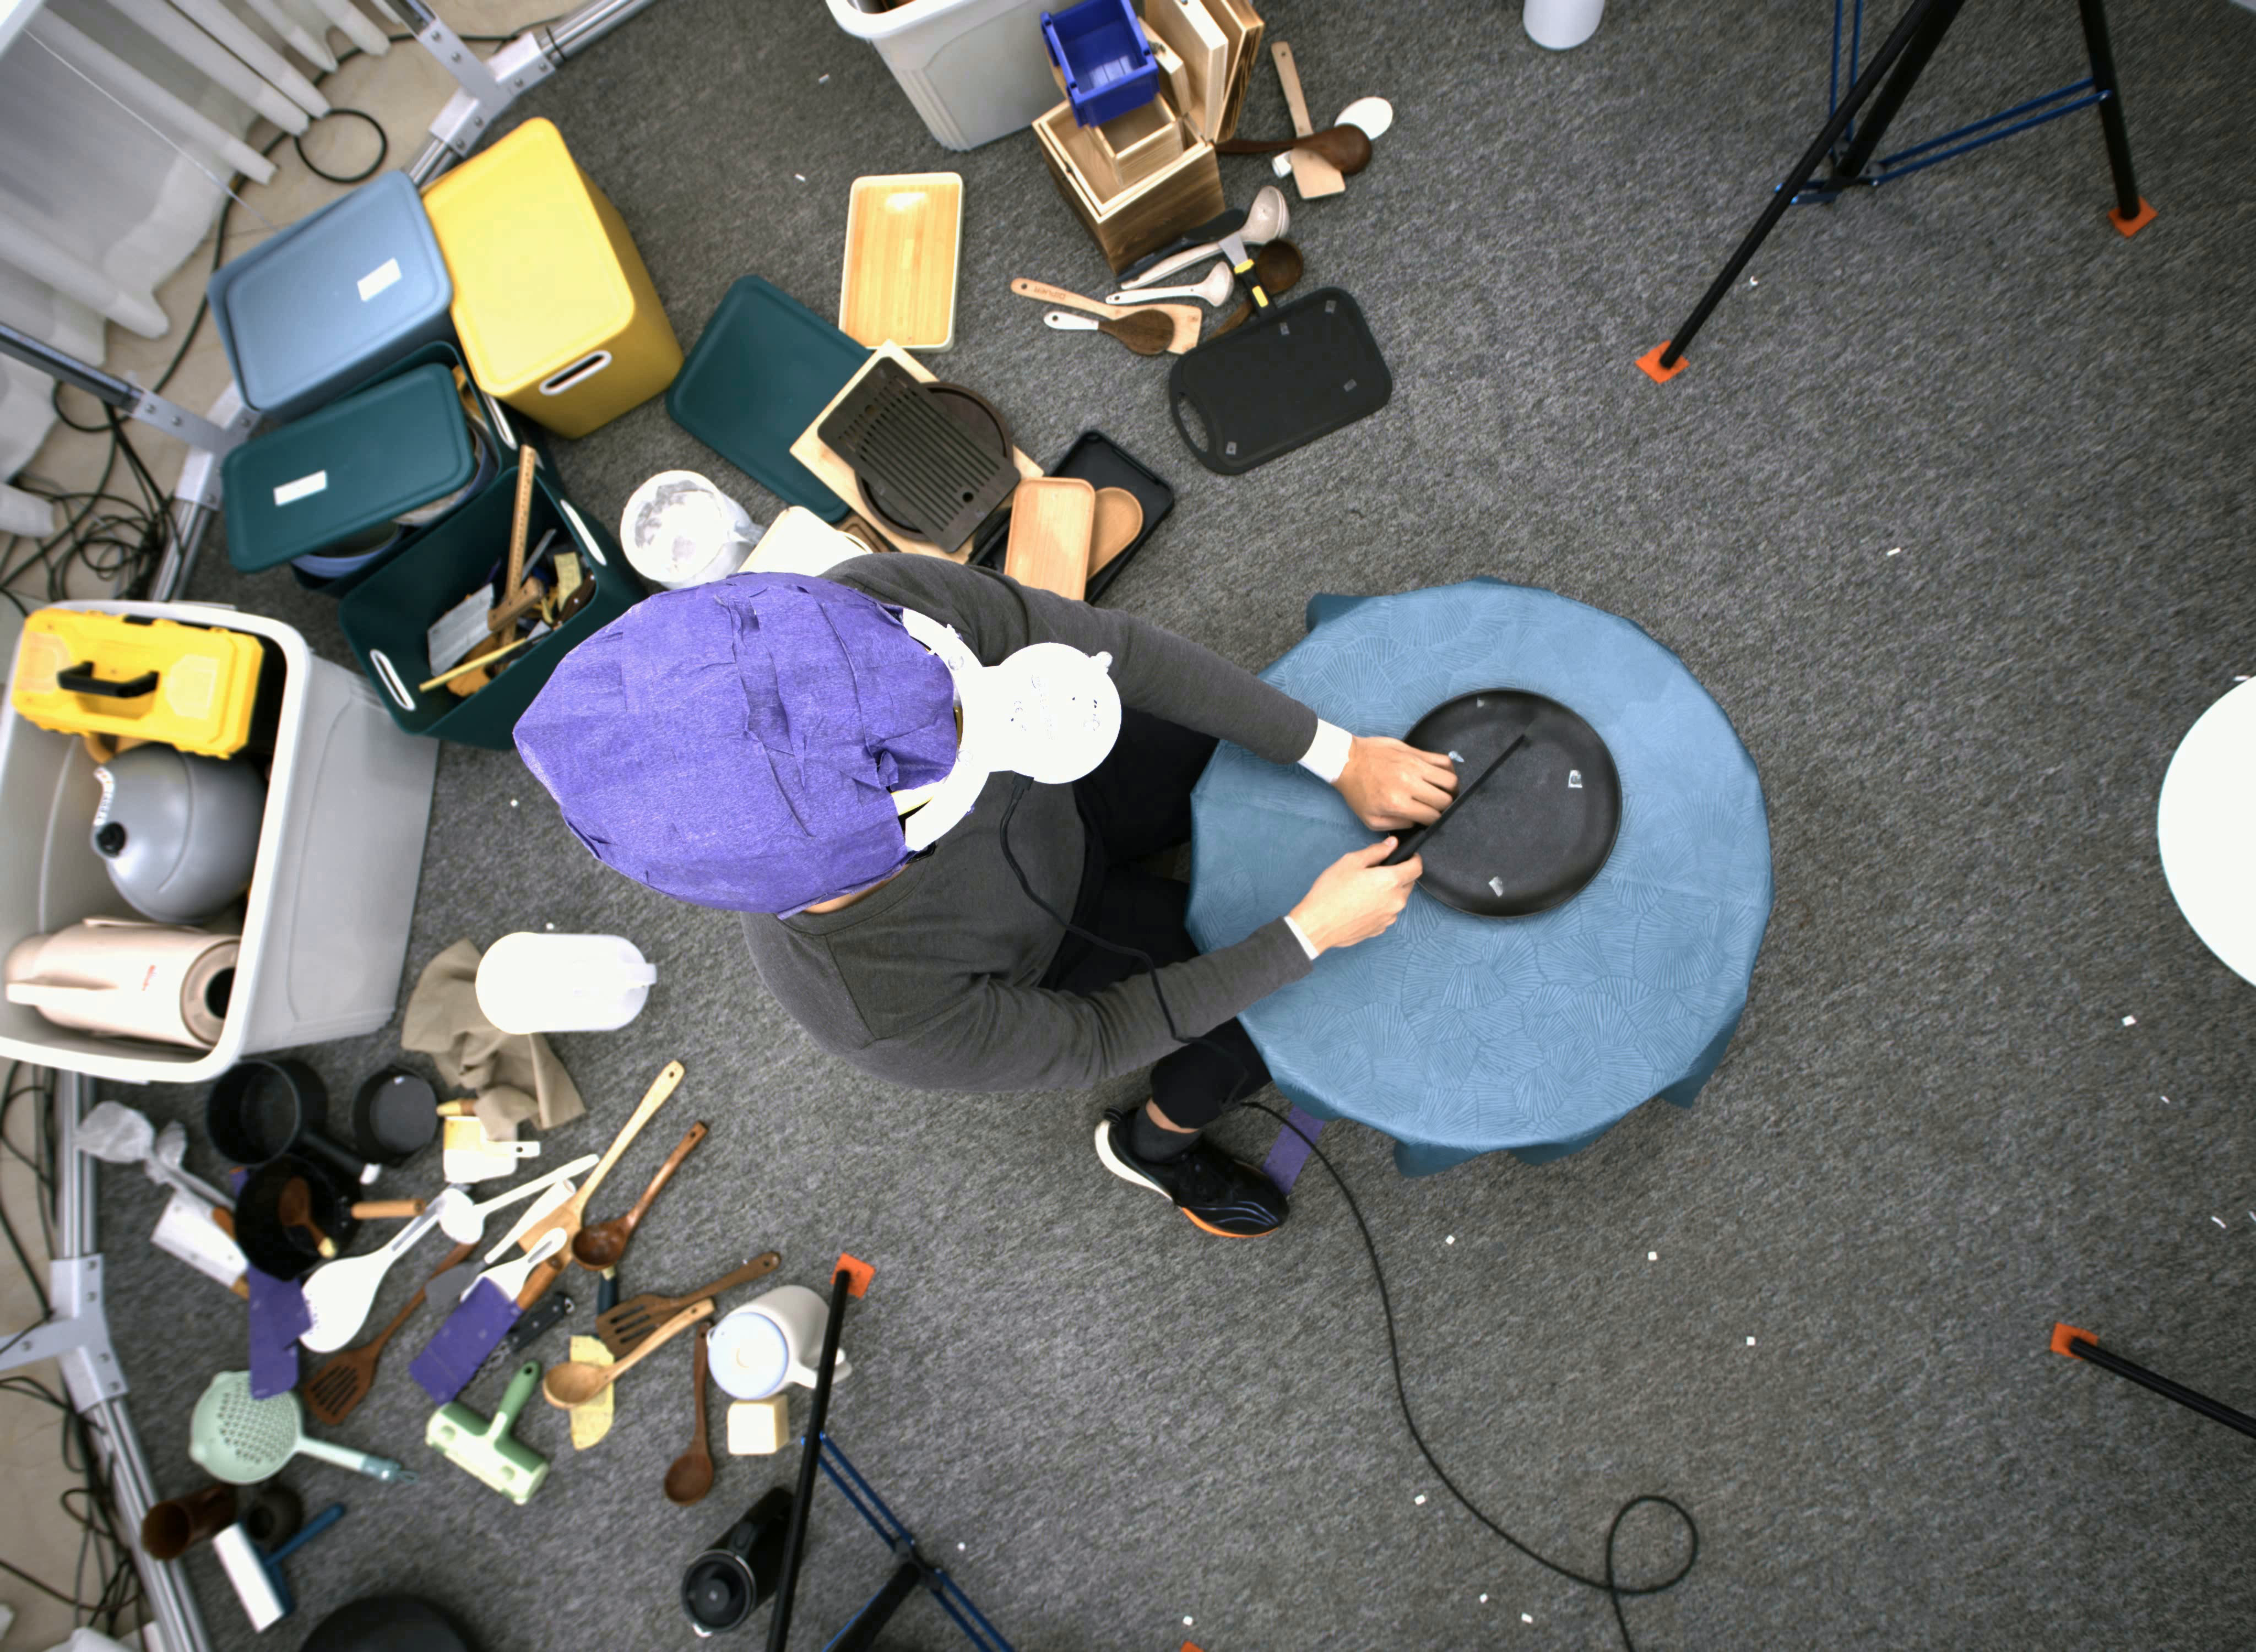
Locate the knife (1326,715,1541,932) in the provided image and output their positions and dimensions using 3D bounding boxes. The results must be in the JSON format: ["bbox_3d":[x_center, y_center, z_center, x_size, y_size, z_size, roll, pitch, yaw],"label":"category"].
[{"bbox_3d":[0.312,-0.004,1.397,0.302,0.081,0.021,-44,75,-1],"label":"knife"}]

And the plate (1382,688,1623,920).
[{"bbox_3d":[0.389,-0.025,1.432,0.245,0.023,0.243,-1,87,11],"label":"plate"}]
